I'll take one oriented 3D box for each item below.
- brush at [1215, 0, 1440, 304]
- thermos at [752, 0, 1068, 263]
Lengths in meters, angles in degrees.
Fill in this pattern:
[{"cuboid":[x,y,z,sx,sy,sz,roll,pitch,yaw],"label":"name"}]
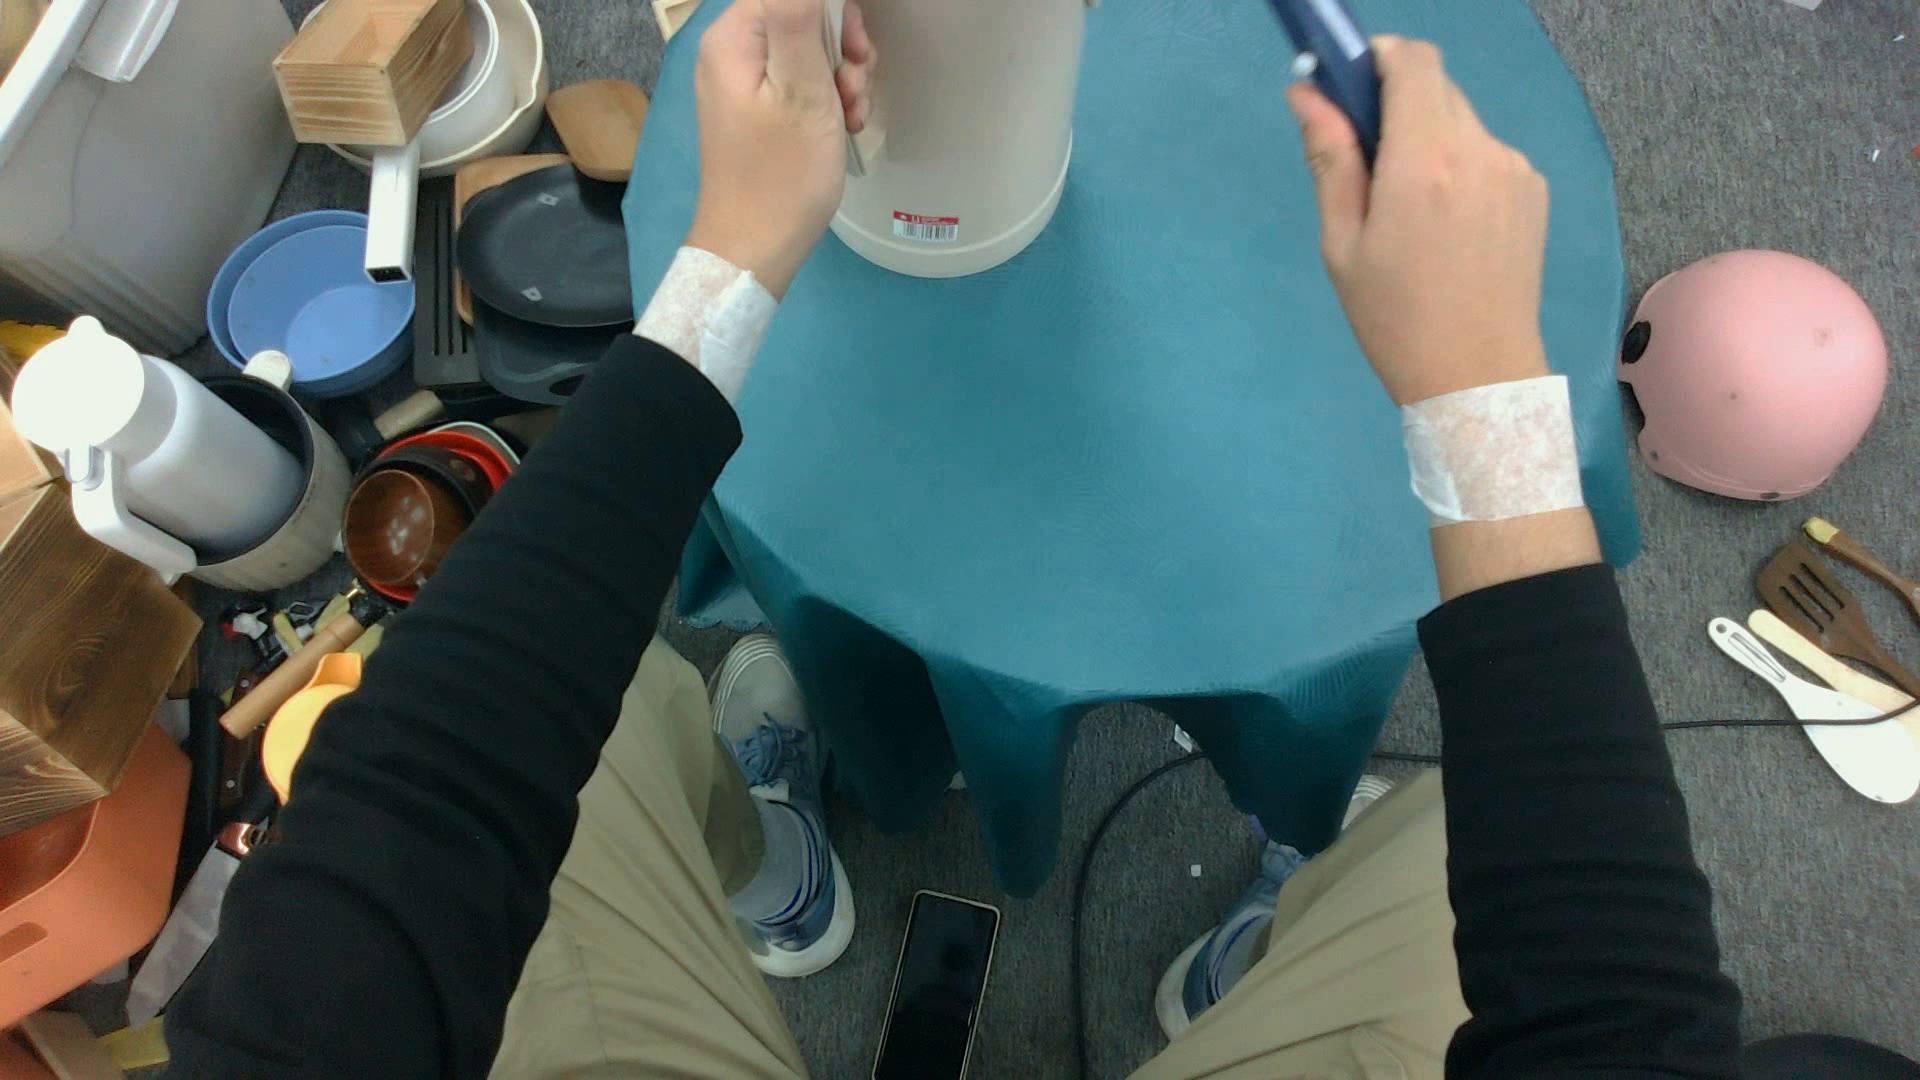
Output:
[{"cuboid":[0.112,-0.198,0.507,0.273,0.095,0.033,42,67,-18],"label":"brush"},{"cuboid":[-0.032,-0.283,0.647,0.175,0.405,0.207,25,74,4],"label":"thermos"}]
